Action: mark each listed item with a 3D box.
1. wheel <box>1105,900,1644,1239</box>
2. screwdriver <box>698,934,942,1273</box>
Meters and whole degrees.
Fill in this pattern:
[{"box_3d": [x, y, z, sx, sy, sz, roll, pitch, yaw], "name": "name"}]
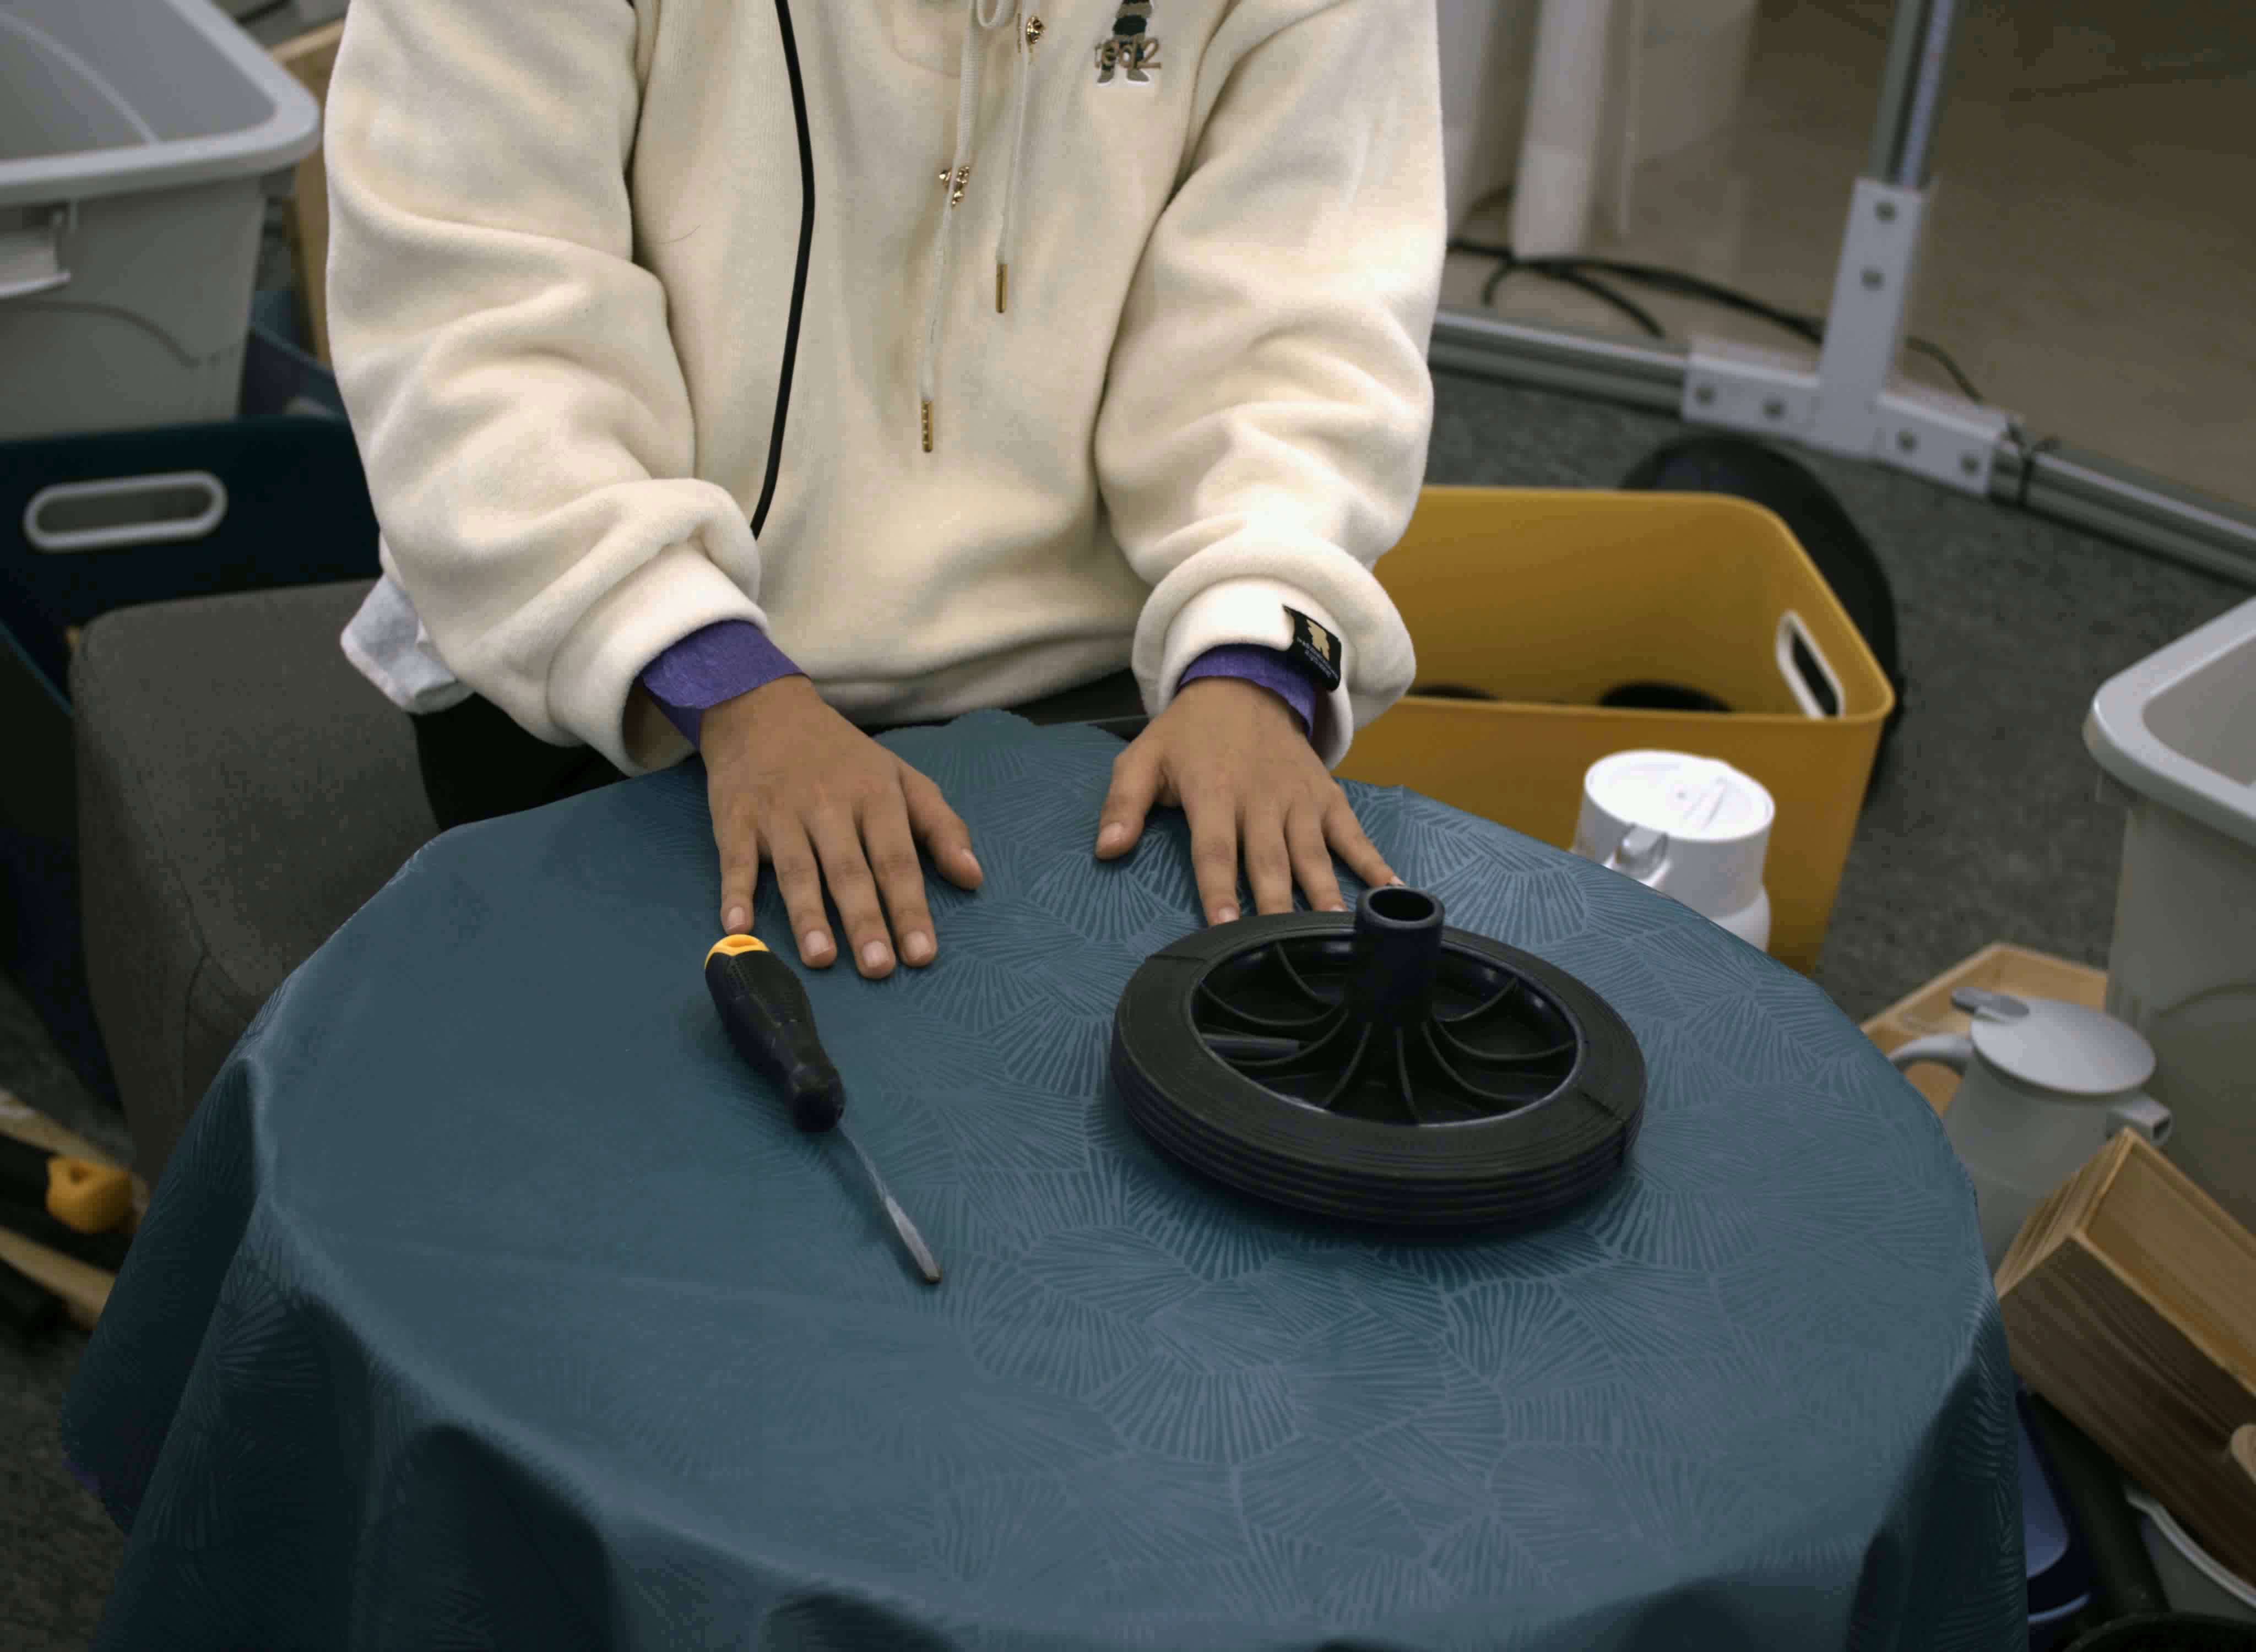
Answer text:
[{"box_3d": [0.088, 0.068, 1.850, 0.189, 0.079, 0.189, -10, 31, -24], "name": "wheel"}, {"box_3d": [-0.106, 0.095, 1.807, 0.031, 0.031, 0.199, -4, 32, -22], "name": "screwdriver"}]
